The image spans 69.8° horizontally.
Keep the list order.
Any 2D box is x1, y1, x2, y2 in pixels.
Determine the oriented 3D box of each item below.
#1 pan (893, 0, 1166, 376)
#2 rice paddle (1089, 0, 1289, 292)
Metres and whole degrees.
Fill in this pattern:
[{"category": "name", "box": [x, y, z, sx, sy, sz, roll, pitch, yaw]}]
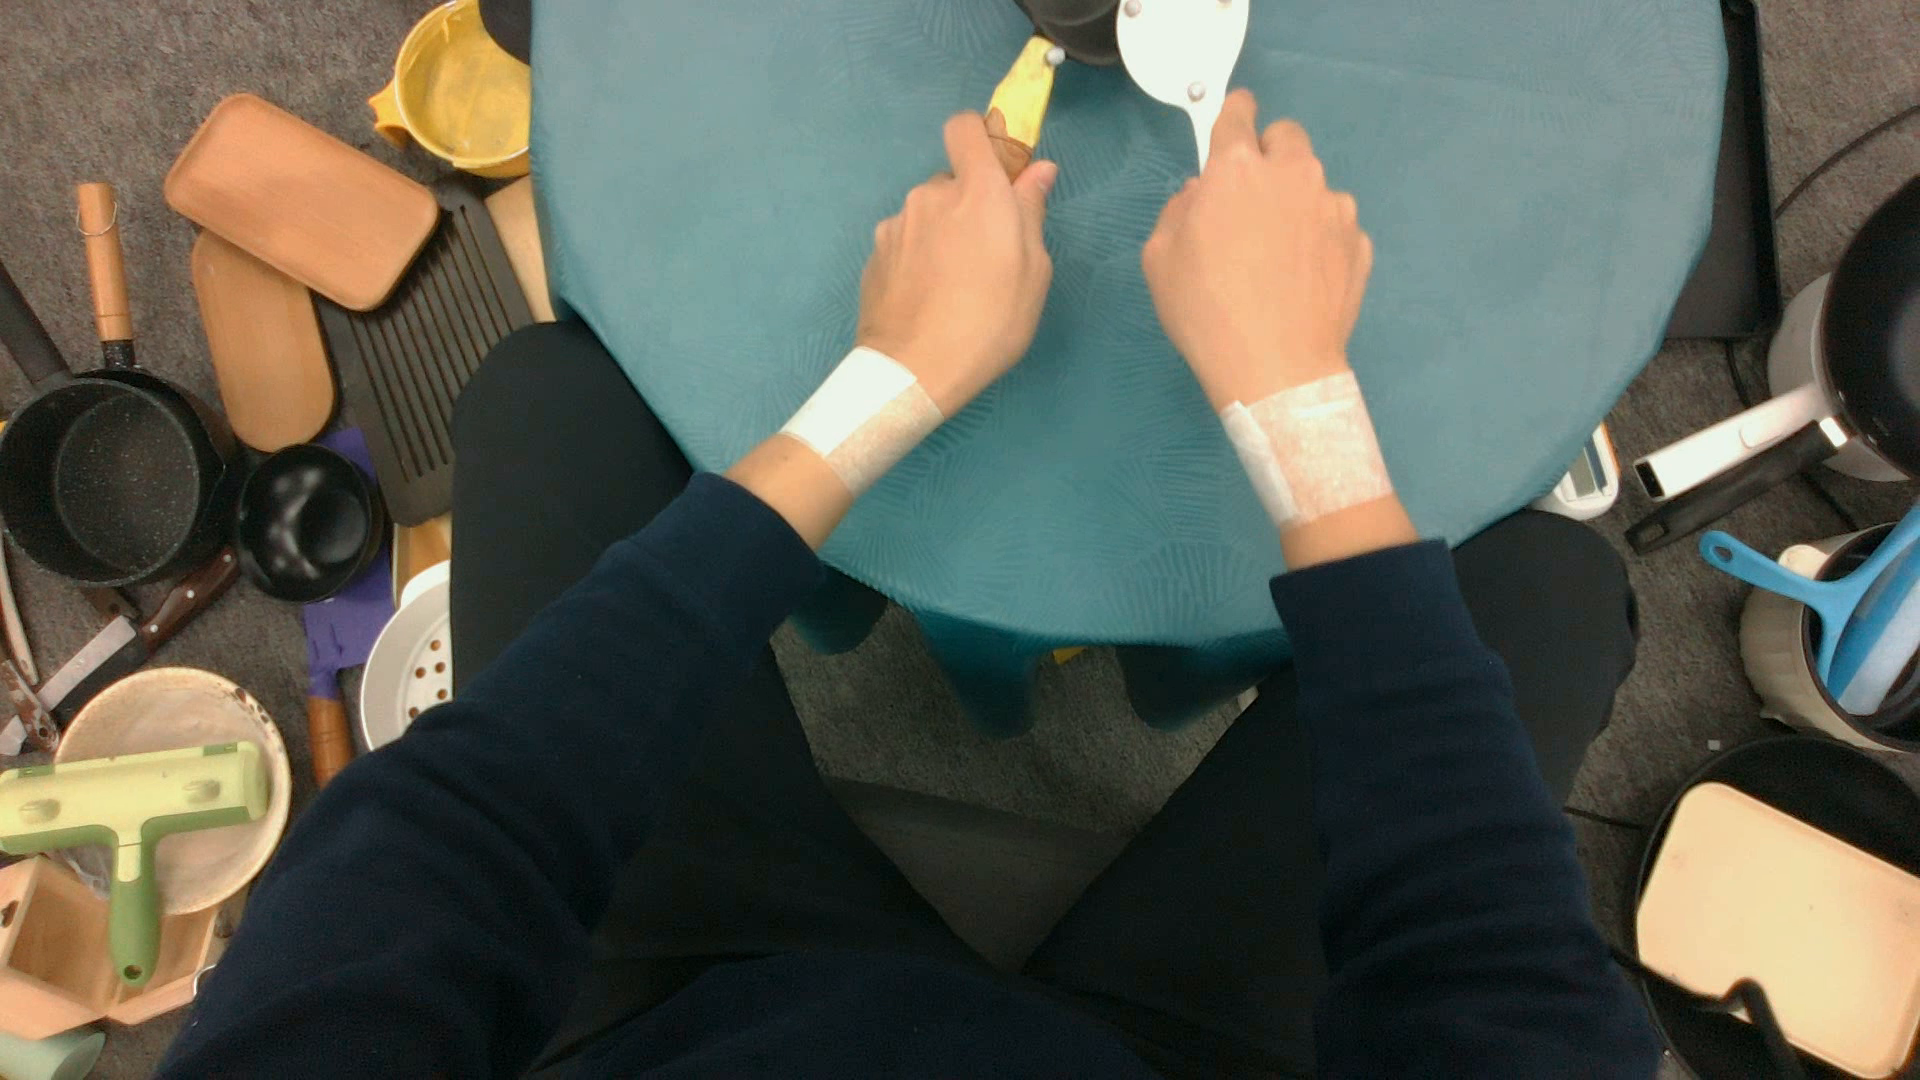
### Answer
[{"category": "pan", "box": [0.025, -0.229, 0.633, 0.049, 0.169, 0.324, 23, 89, 39]}, {"category": "rice paddle", "box": [0.101, -0.203, 0.621, 0.068, 0.029, 0.206, -34, 58, 36]}]
